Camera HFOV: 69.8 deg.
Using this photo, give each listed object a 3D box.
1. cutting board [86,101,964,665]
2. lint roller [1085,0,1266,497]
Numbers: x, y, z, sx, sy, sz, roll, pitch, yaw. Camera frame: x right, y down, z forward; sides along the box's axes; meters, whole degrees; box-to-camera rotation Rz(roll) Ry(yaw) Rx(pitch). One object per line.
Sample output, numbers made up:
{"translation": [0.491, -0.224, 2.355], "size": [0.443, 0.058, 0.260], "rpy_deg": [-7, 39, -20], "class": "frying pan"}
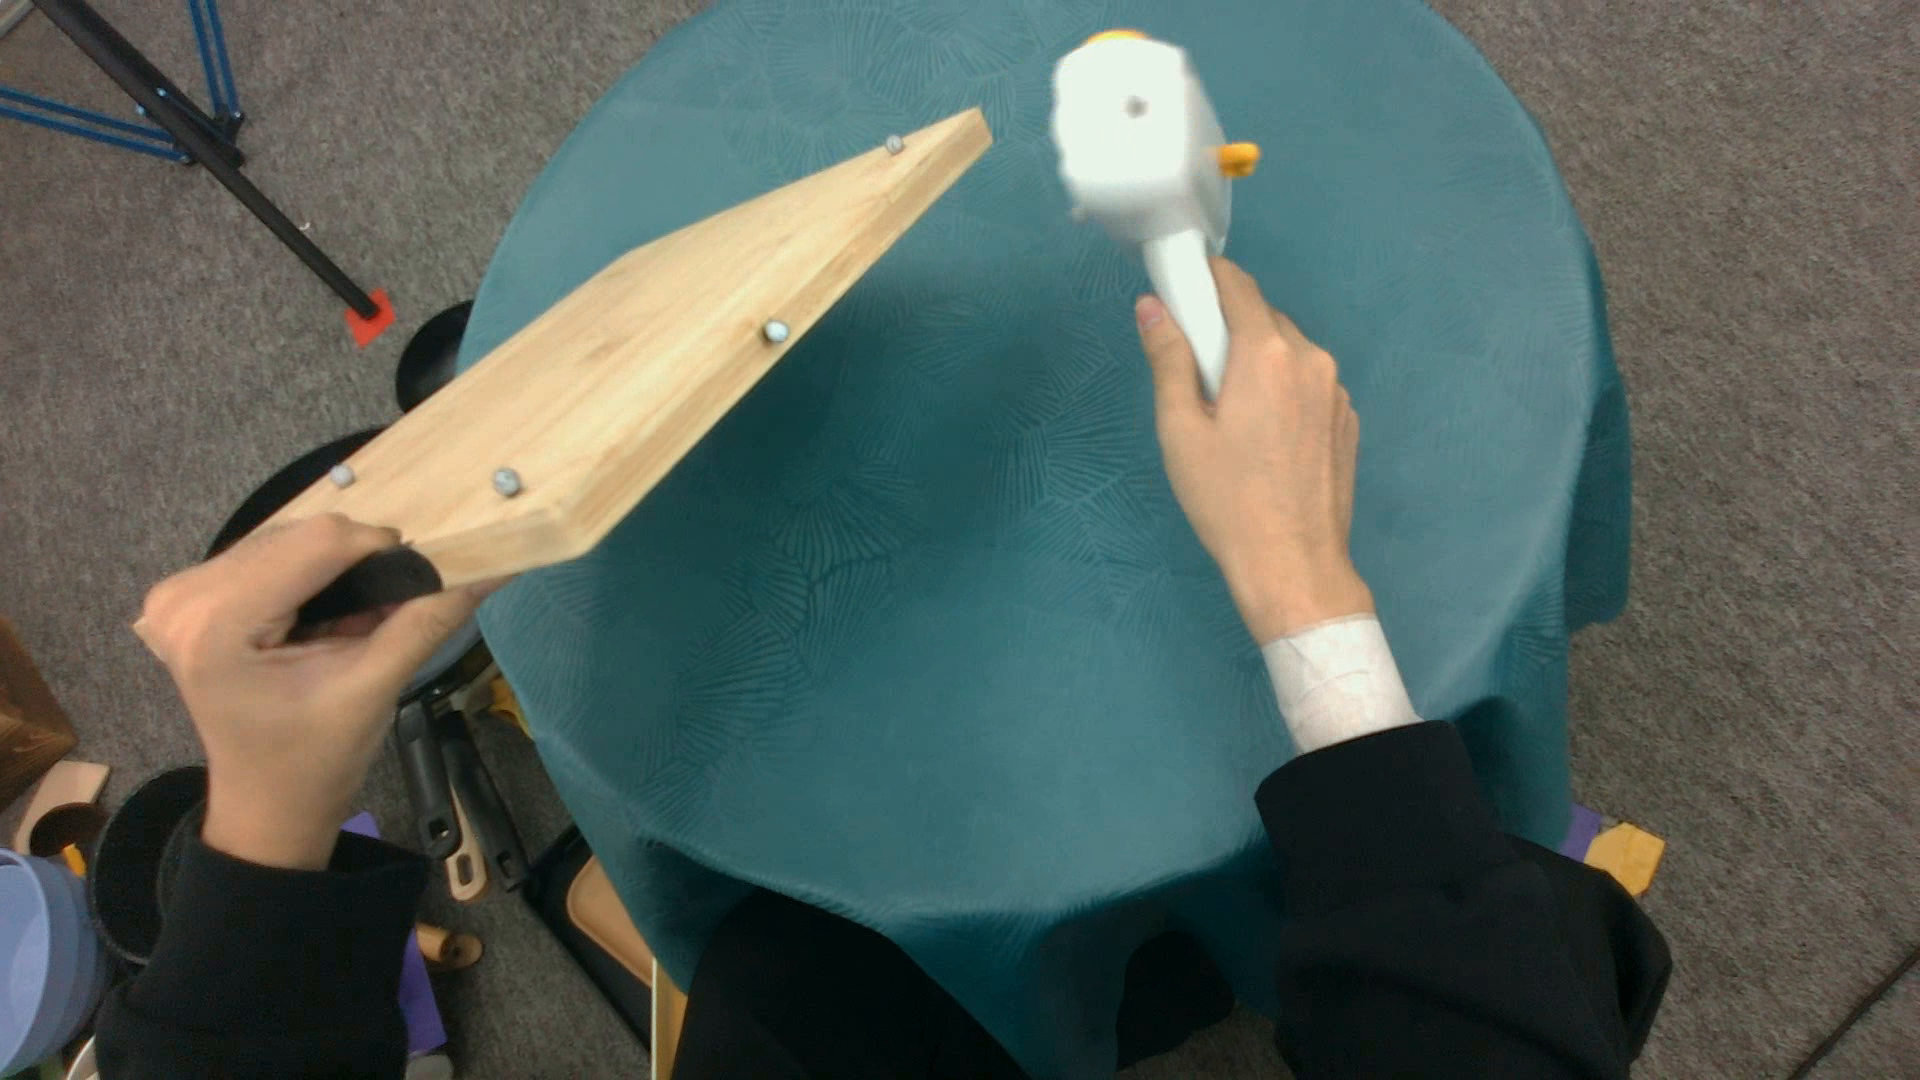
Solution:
{"translation": [-0.159, -0.079, 0.578], "size": [0.250, 0.023, 0.350], "rpy_deg": [-13, 29, 30], "class": "cutting board"}
{"translation": [0.095, -0.113, 0.594], "size": [0.074, 0.193, 0.192], "rpy_deg": [-5, 93, -3], "class": "lint roller"}
